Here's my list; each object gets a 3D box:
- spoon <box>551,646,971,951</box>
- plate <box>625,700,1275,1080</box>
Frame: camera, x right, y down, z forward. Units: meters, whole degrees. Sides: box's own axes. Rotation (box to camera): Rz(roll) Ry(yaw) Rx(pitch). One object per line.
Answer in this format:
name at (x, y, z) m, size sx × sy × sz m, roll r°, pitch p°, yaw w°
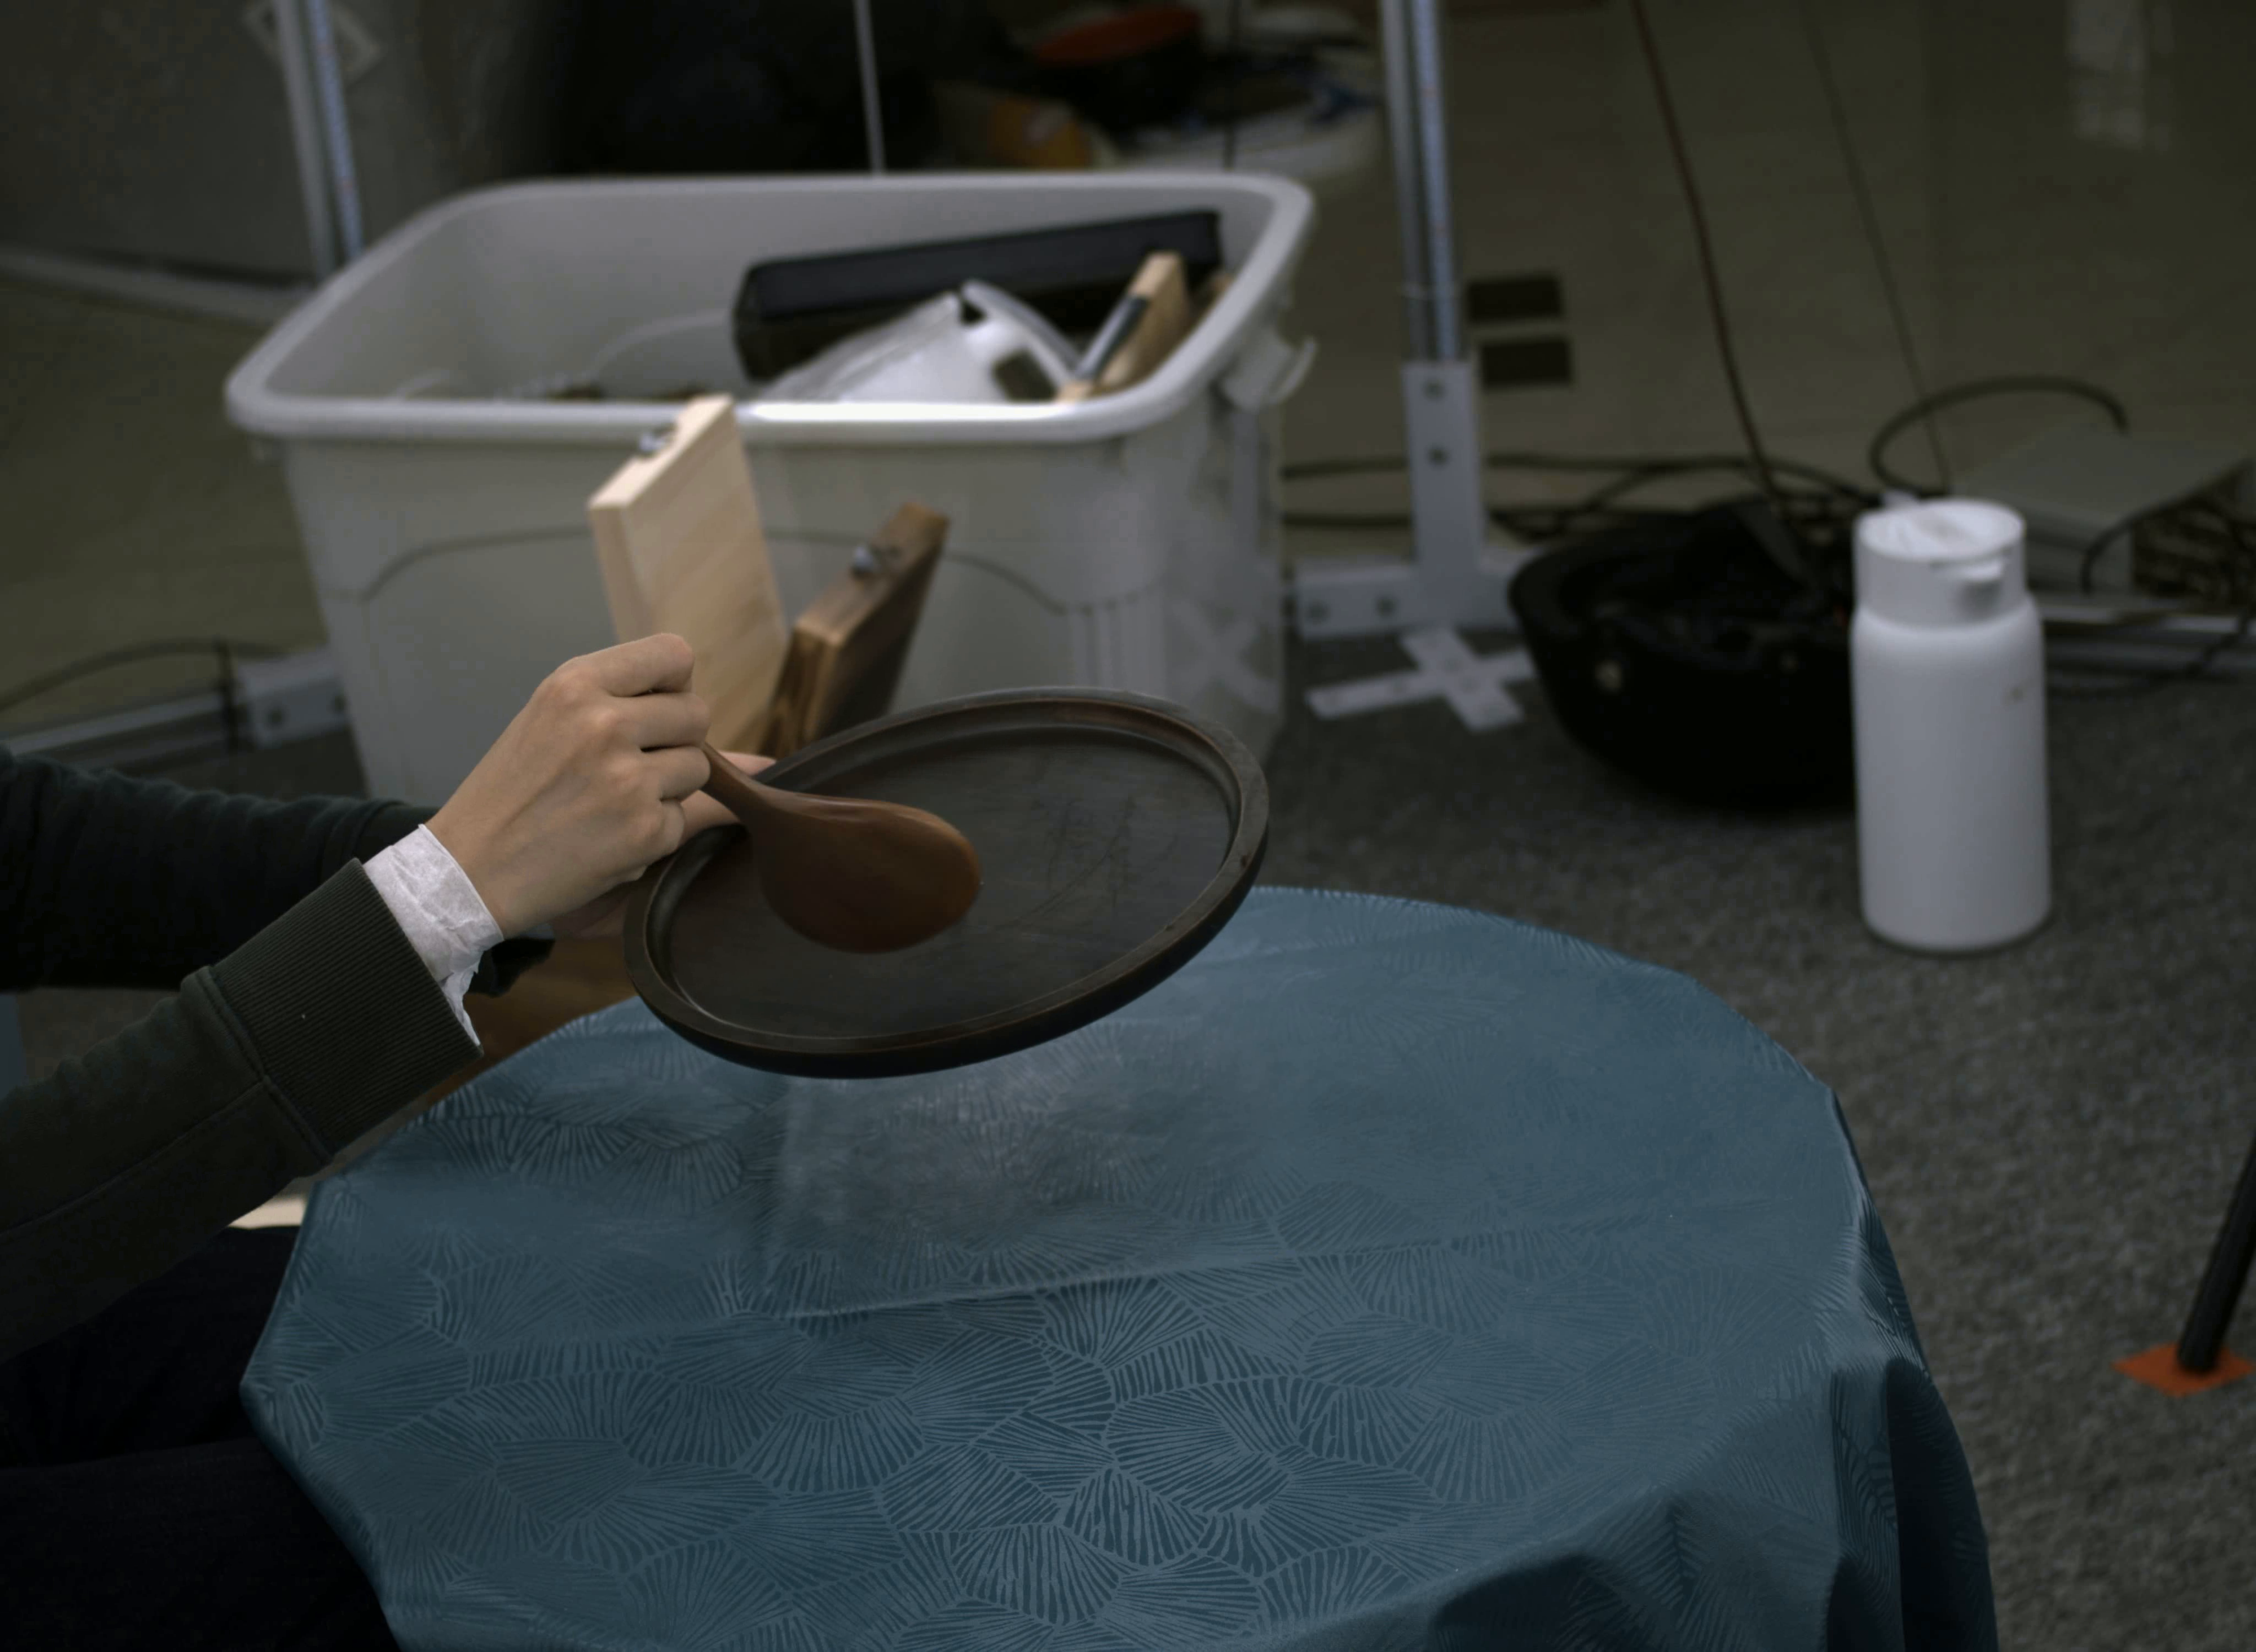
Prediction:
spoon at (-0.132, -0.007, 1.993) m, size 0.076 × 0.218 × 0.017 m, roll -27°, pitch 51°, yaw 22°
plate at (-0.067, 0.023, 2.146) m, size 0.254 × 0.029 × 0.250 m, roll -10°, pitch 29°, yaw 6°
